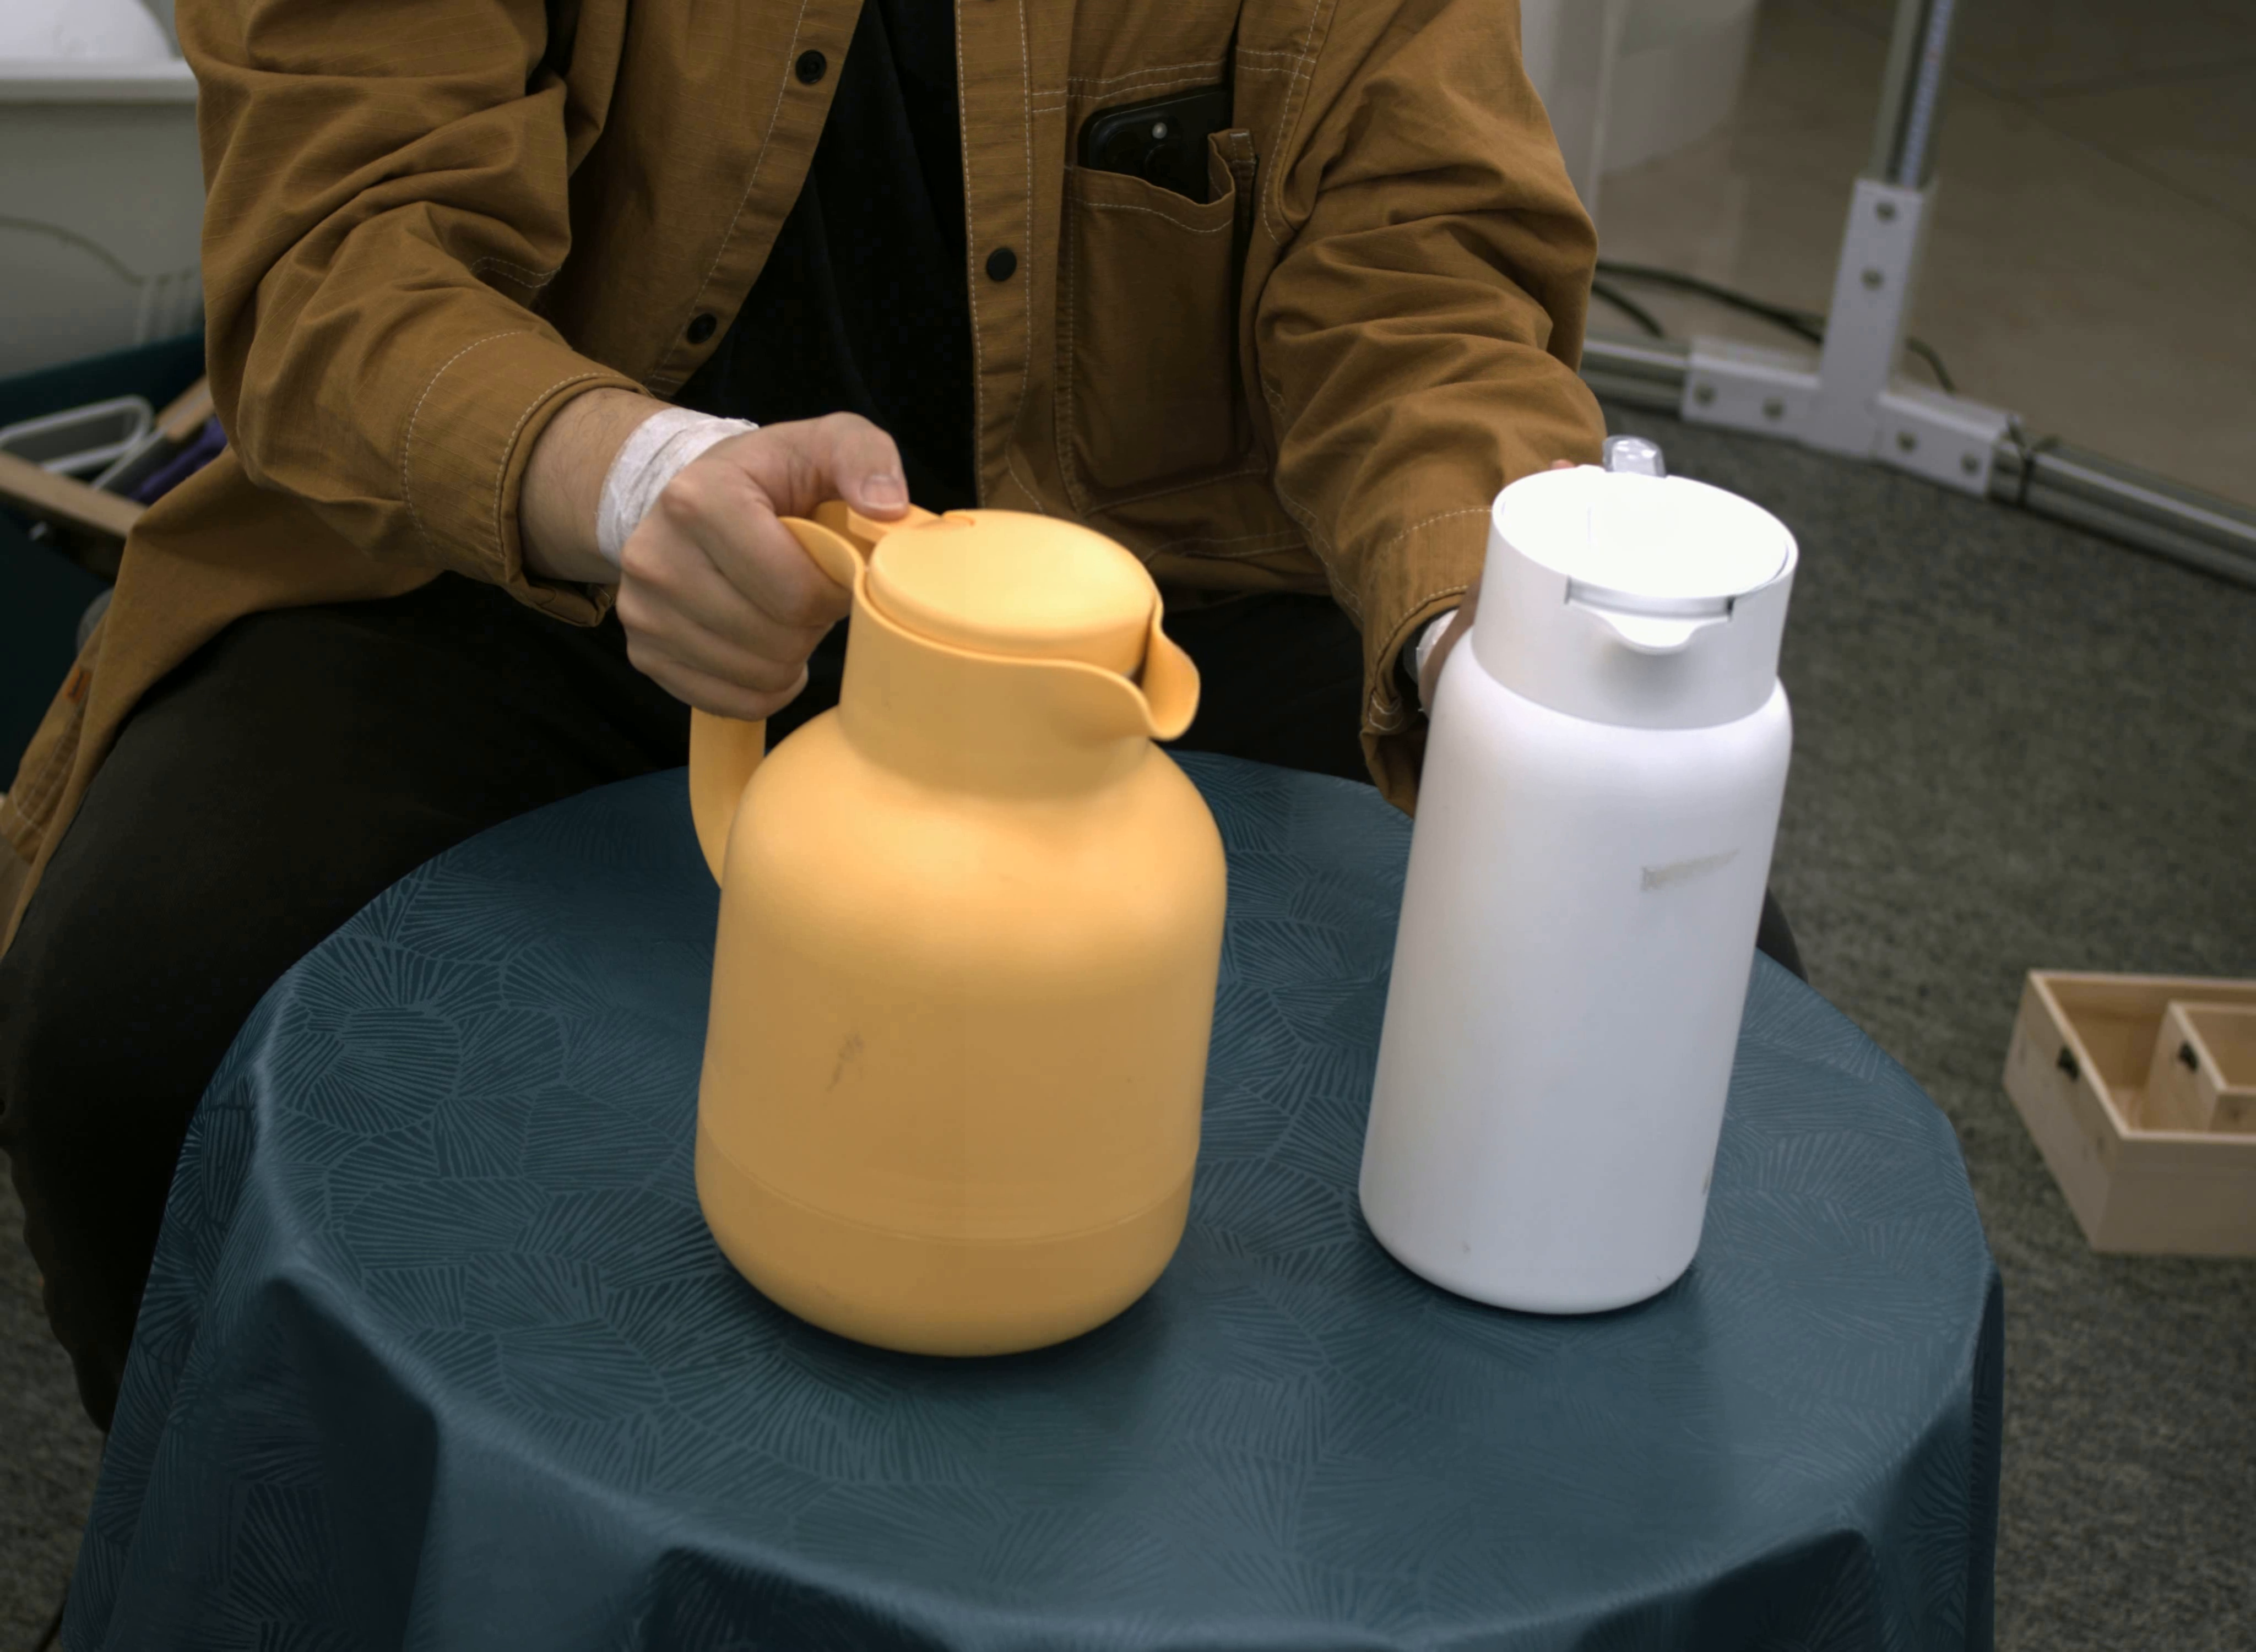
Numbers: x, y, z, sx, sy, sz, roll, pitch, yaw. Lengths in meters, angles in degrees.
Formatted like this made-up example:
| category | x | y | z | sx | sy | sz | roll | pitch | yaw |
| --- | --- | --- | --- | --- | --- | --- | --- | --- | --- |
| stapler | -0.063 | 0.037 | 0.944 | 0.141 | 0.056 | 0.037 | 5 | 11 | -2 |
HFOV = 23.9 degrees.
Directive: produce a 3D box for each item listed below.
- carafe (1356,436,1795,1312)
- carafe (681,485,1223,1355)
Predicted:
| category | x | y | z | sx | sy | sz | roll | pitch | yaw |
| --- | --- | --- | --- | --- | --- | --- | --- | --- | --- |
| carafe | 0.148 | 0.012 | 1.763 | 0.123 | 0.268 | 0.174 | 4 | 26 | -1 |
| carafe | -0.064 | 0.020 | 1.705 | 0.162 | 0.260 | 0.204 | -16 | 35 | -43 |
